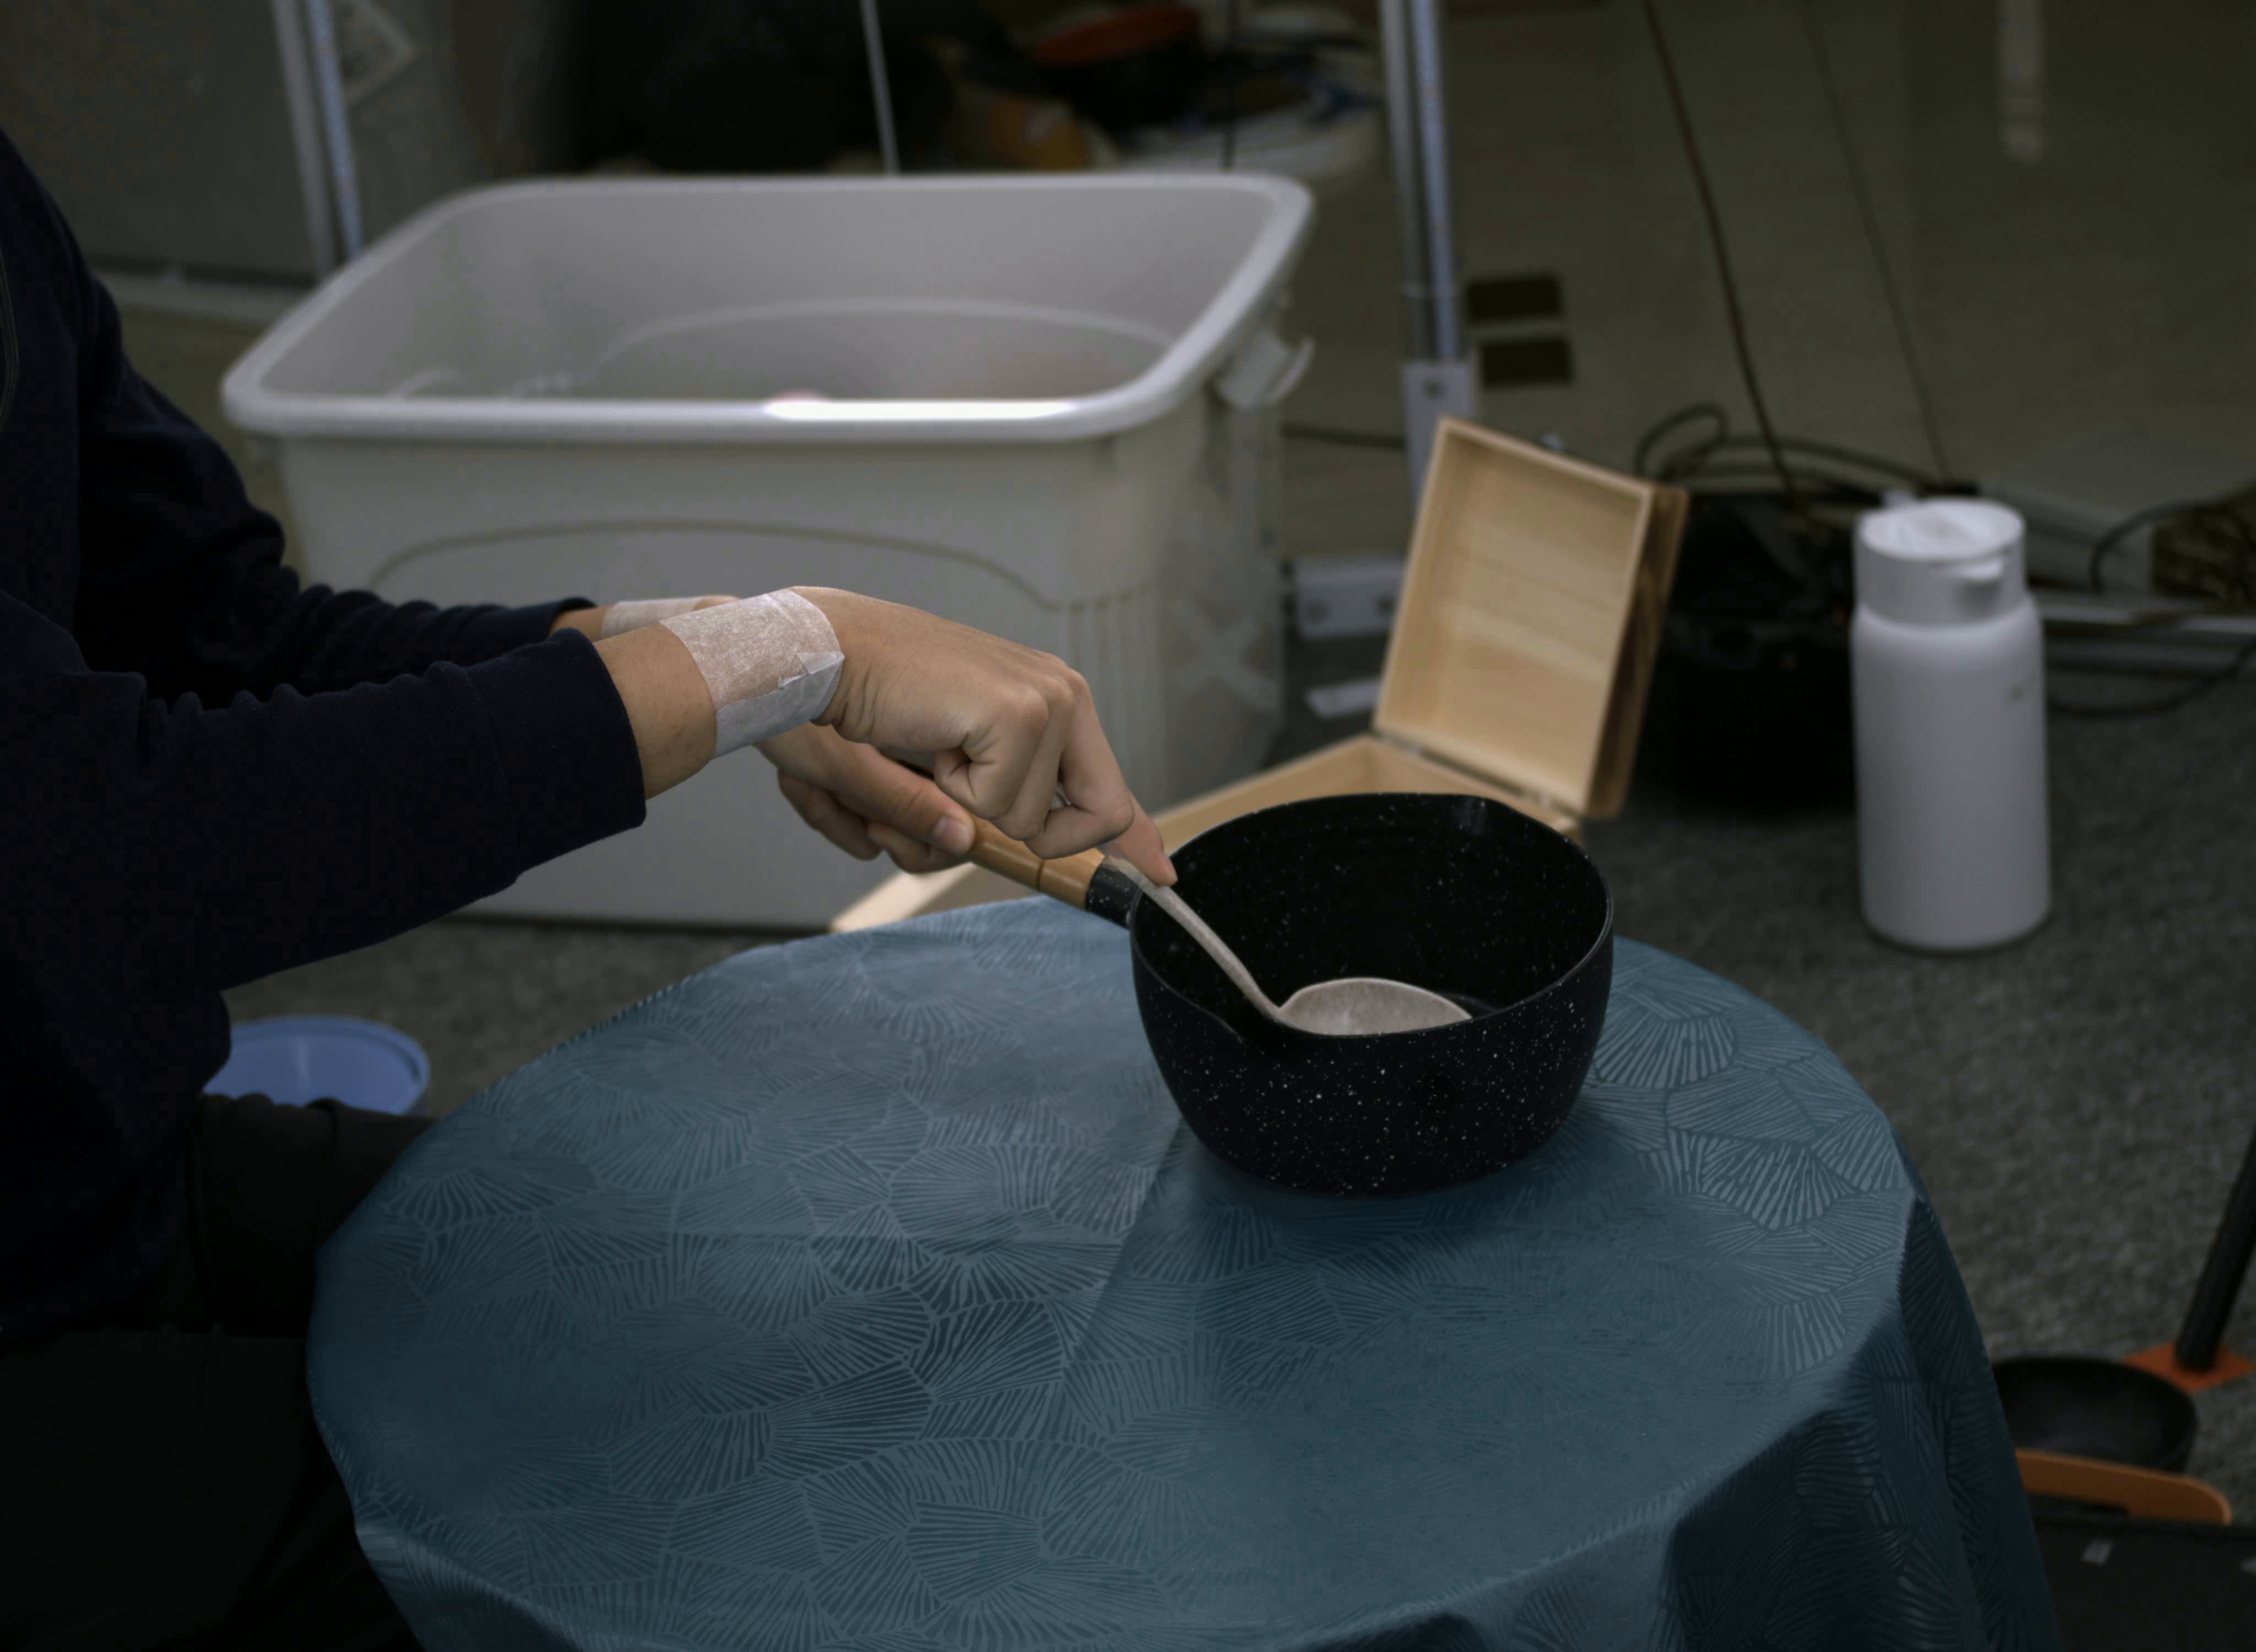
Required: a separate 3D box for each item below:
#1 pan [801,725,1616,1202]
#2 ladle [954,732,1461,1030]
[{"bbox_3d":[0.023,0.043,2.191,0.341,0.110,0.205,13,35,25],"label":"pan"},{"bbox_3d":[0.038,0.026,2.080,0.069,0.279,0.088,-36,42,9],"label":"ladle"}]
